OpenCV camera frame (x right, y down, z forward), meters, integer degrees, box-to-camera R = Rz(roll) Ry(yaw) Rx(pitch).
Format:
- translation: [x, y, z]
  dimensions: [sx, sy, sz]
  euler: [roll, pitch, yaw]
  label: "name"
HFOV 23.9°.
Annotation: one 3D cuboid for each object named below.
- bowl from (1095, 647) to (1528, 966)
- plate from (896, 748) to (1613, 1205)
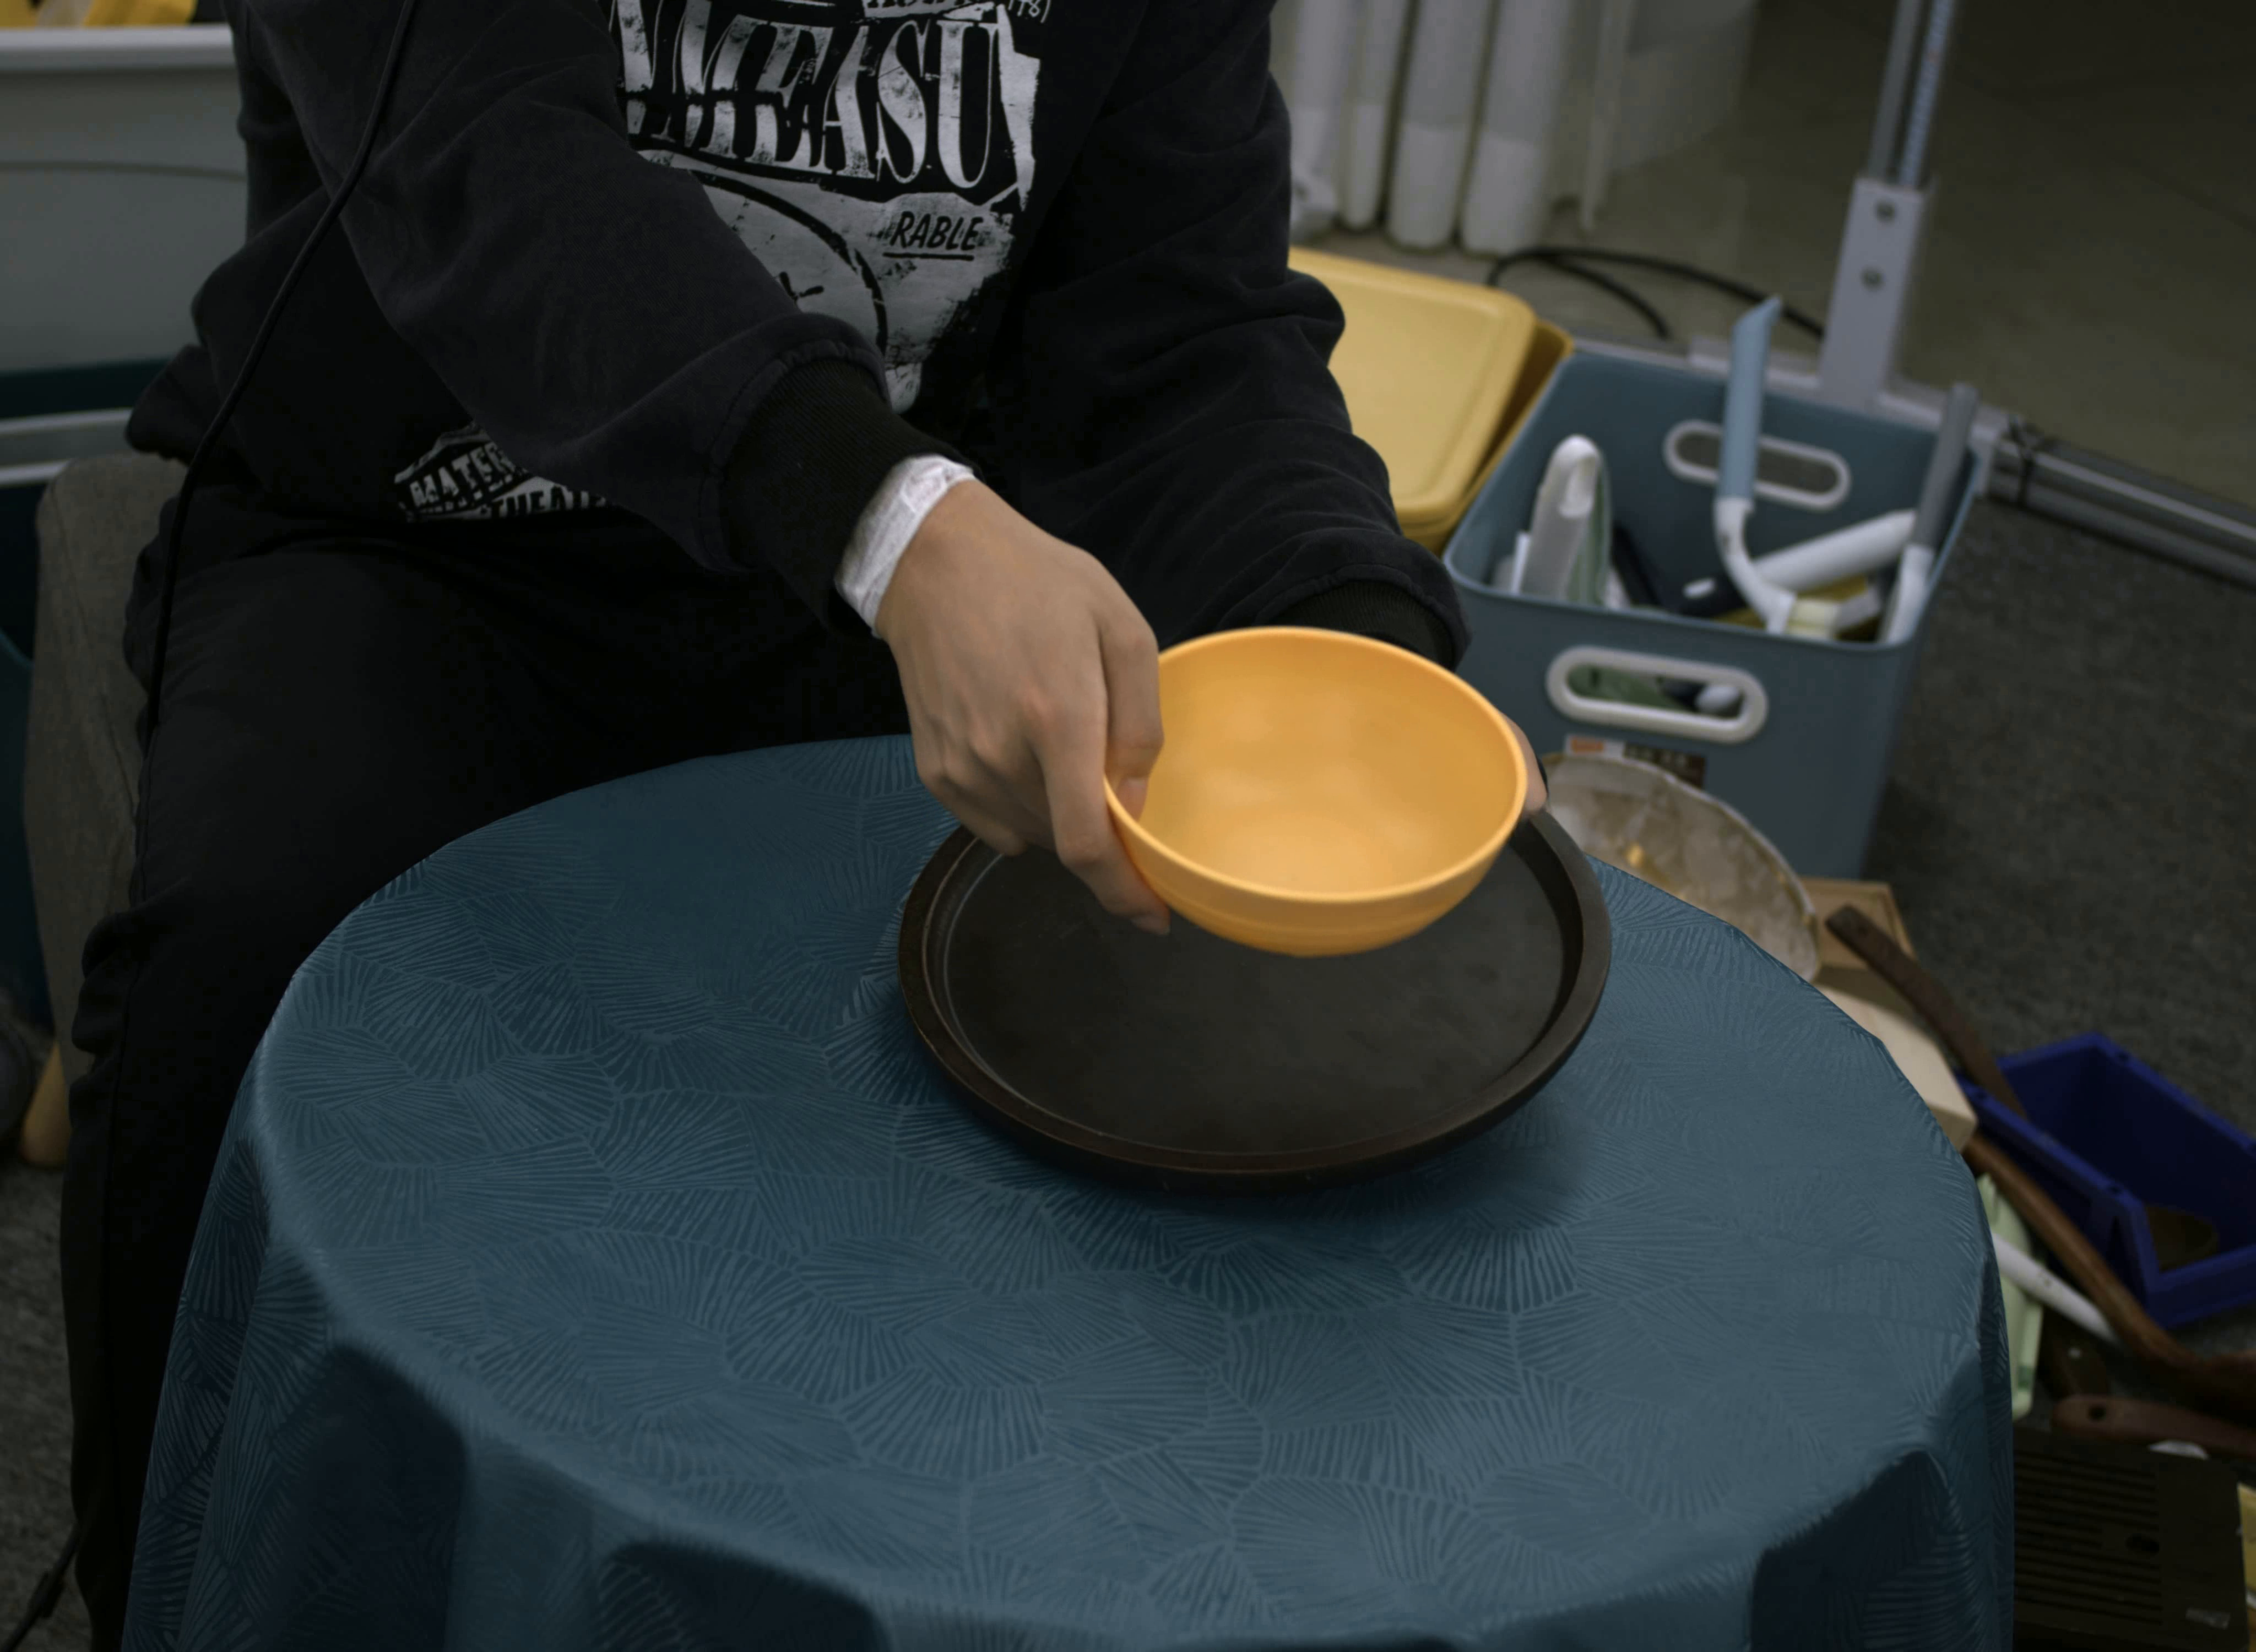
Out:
- translation: [0.058, 0.004, 1.768]
  dimensions: [0.145, 0.060, 0.146]
  euler: [3, 36, -3]
  label: "bowl"
- translation: [0.045, 0.046, 1.880]
  dimensions: [0.254, 0.029, 0.257]
  euler: [-4, 37, 3]
  label: "plate"
